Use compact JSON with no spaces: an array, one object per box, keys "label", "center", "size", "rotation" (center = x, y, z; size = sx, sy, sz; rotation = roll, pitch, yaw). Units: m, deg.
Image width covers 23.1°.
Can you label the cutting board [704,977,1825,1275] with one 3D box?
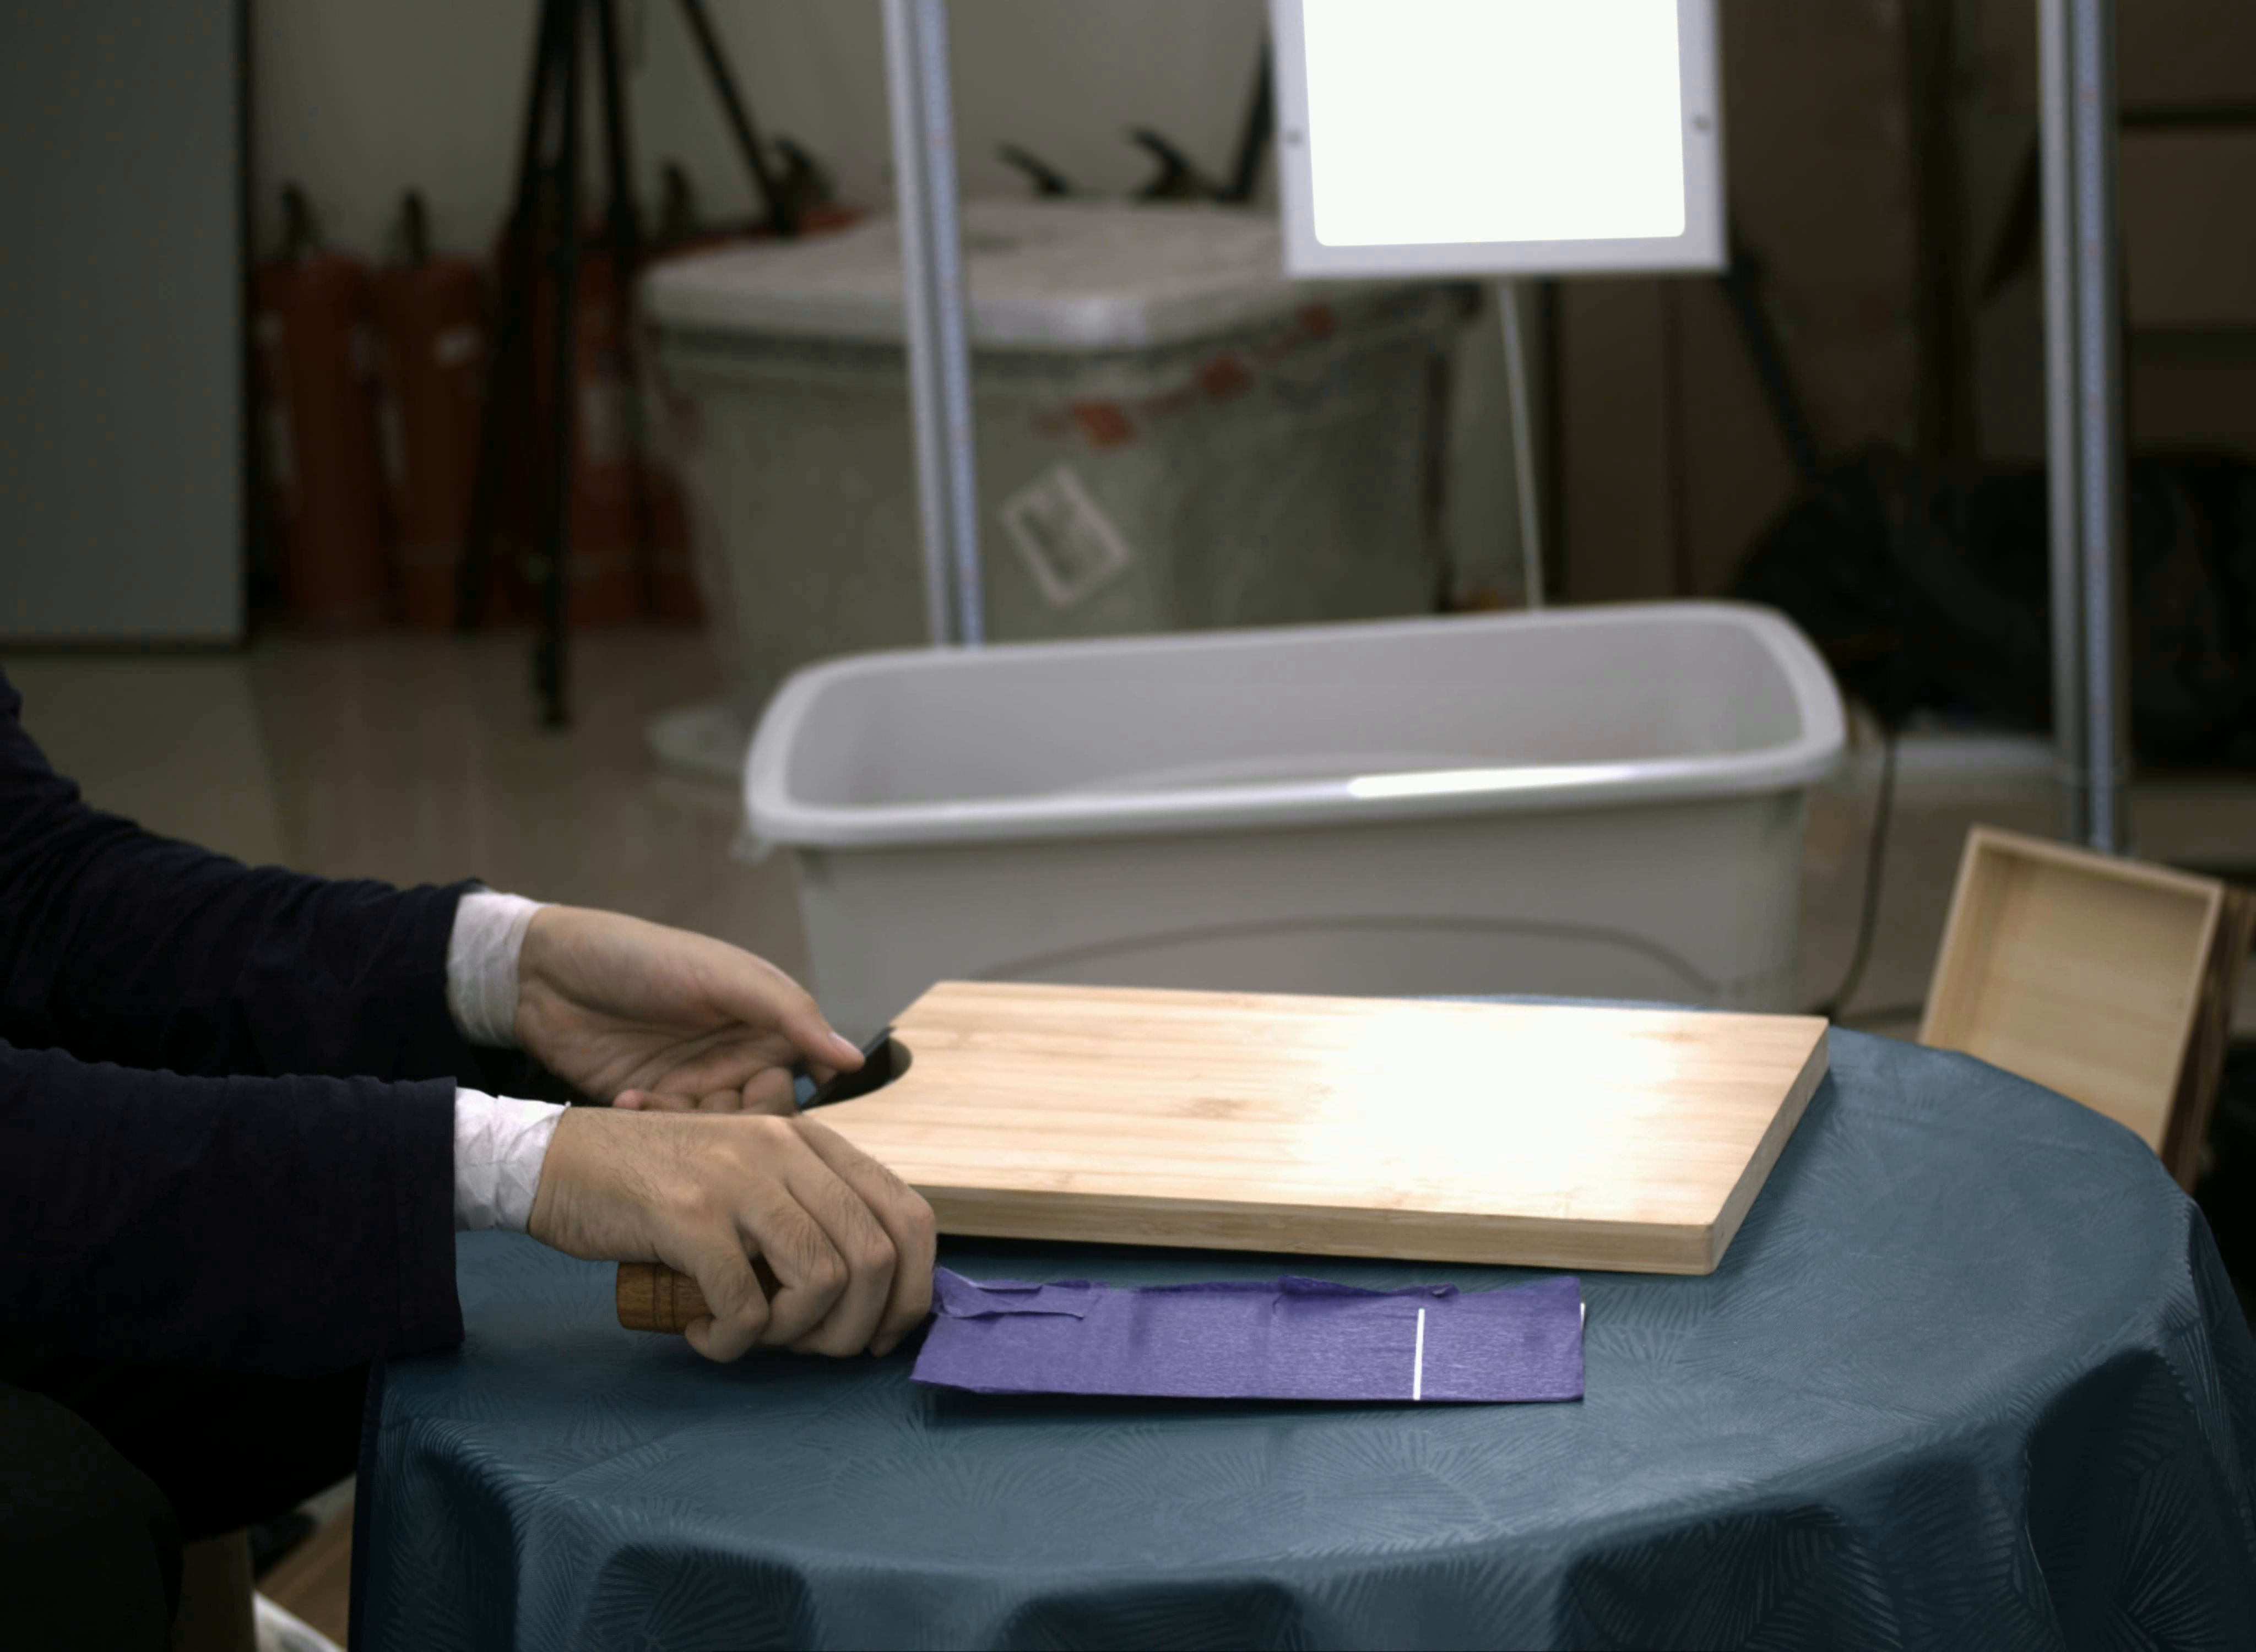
[{"label":"cutting board","center":[0.054,0.101,1.925],"size":[0.352,0.024,0.247],"rotation":[1,15,18]}]

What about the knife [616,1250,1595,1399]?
[{"label":"knife","center":[-0.011,0.156,1.725],"size":[0.316,0.032,0.103],"rotation":[-2,14,9]}]
